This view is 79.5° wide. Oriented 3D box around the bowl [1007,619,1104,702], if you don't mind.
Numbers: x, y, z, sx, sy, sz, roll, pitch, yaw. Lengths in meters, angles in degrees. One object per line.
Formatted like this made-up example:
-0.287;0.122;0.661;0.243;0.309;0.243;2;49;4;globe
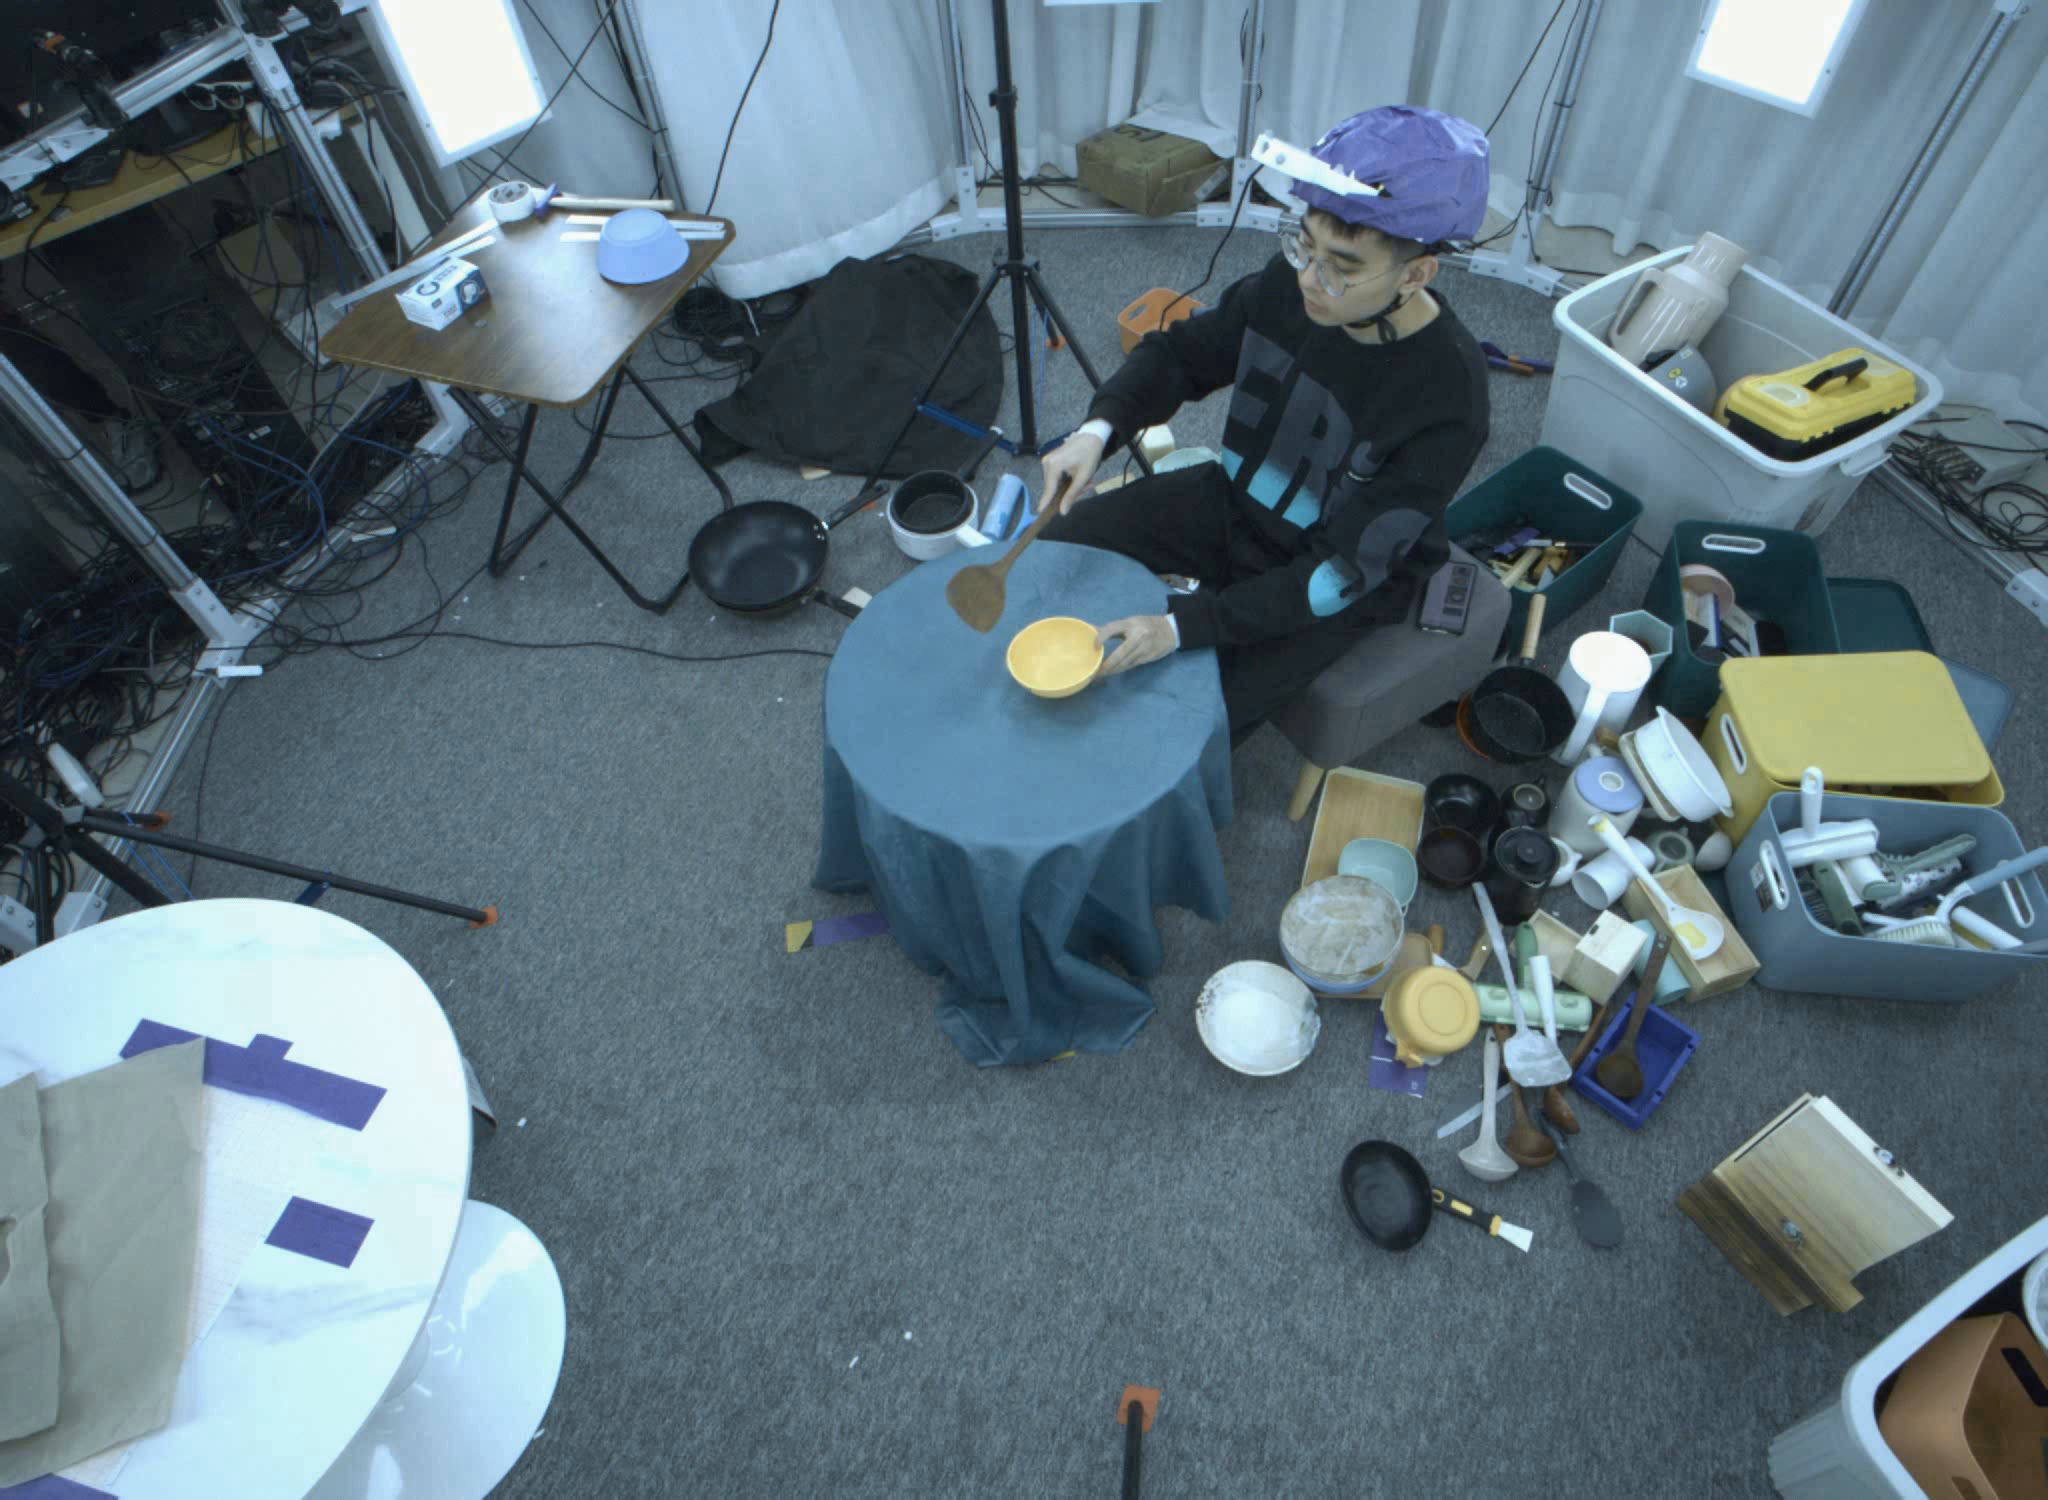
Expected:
0.050;-0.123;1.838;0.145;0.061;0.144;-3;56;5;bowl

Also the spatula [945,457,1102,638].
0.012;-0.325;1.860;0.097;0.015;0.387;46;65;-19;spatula
